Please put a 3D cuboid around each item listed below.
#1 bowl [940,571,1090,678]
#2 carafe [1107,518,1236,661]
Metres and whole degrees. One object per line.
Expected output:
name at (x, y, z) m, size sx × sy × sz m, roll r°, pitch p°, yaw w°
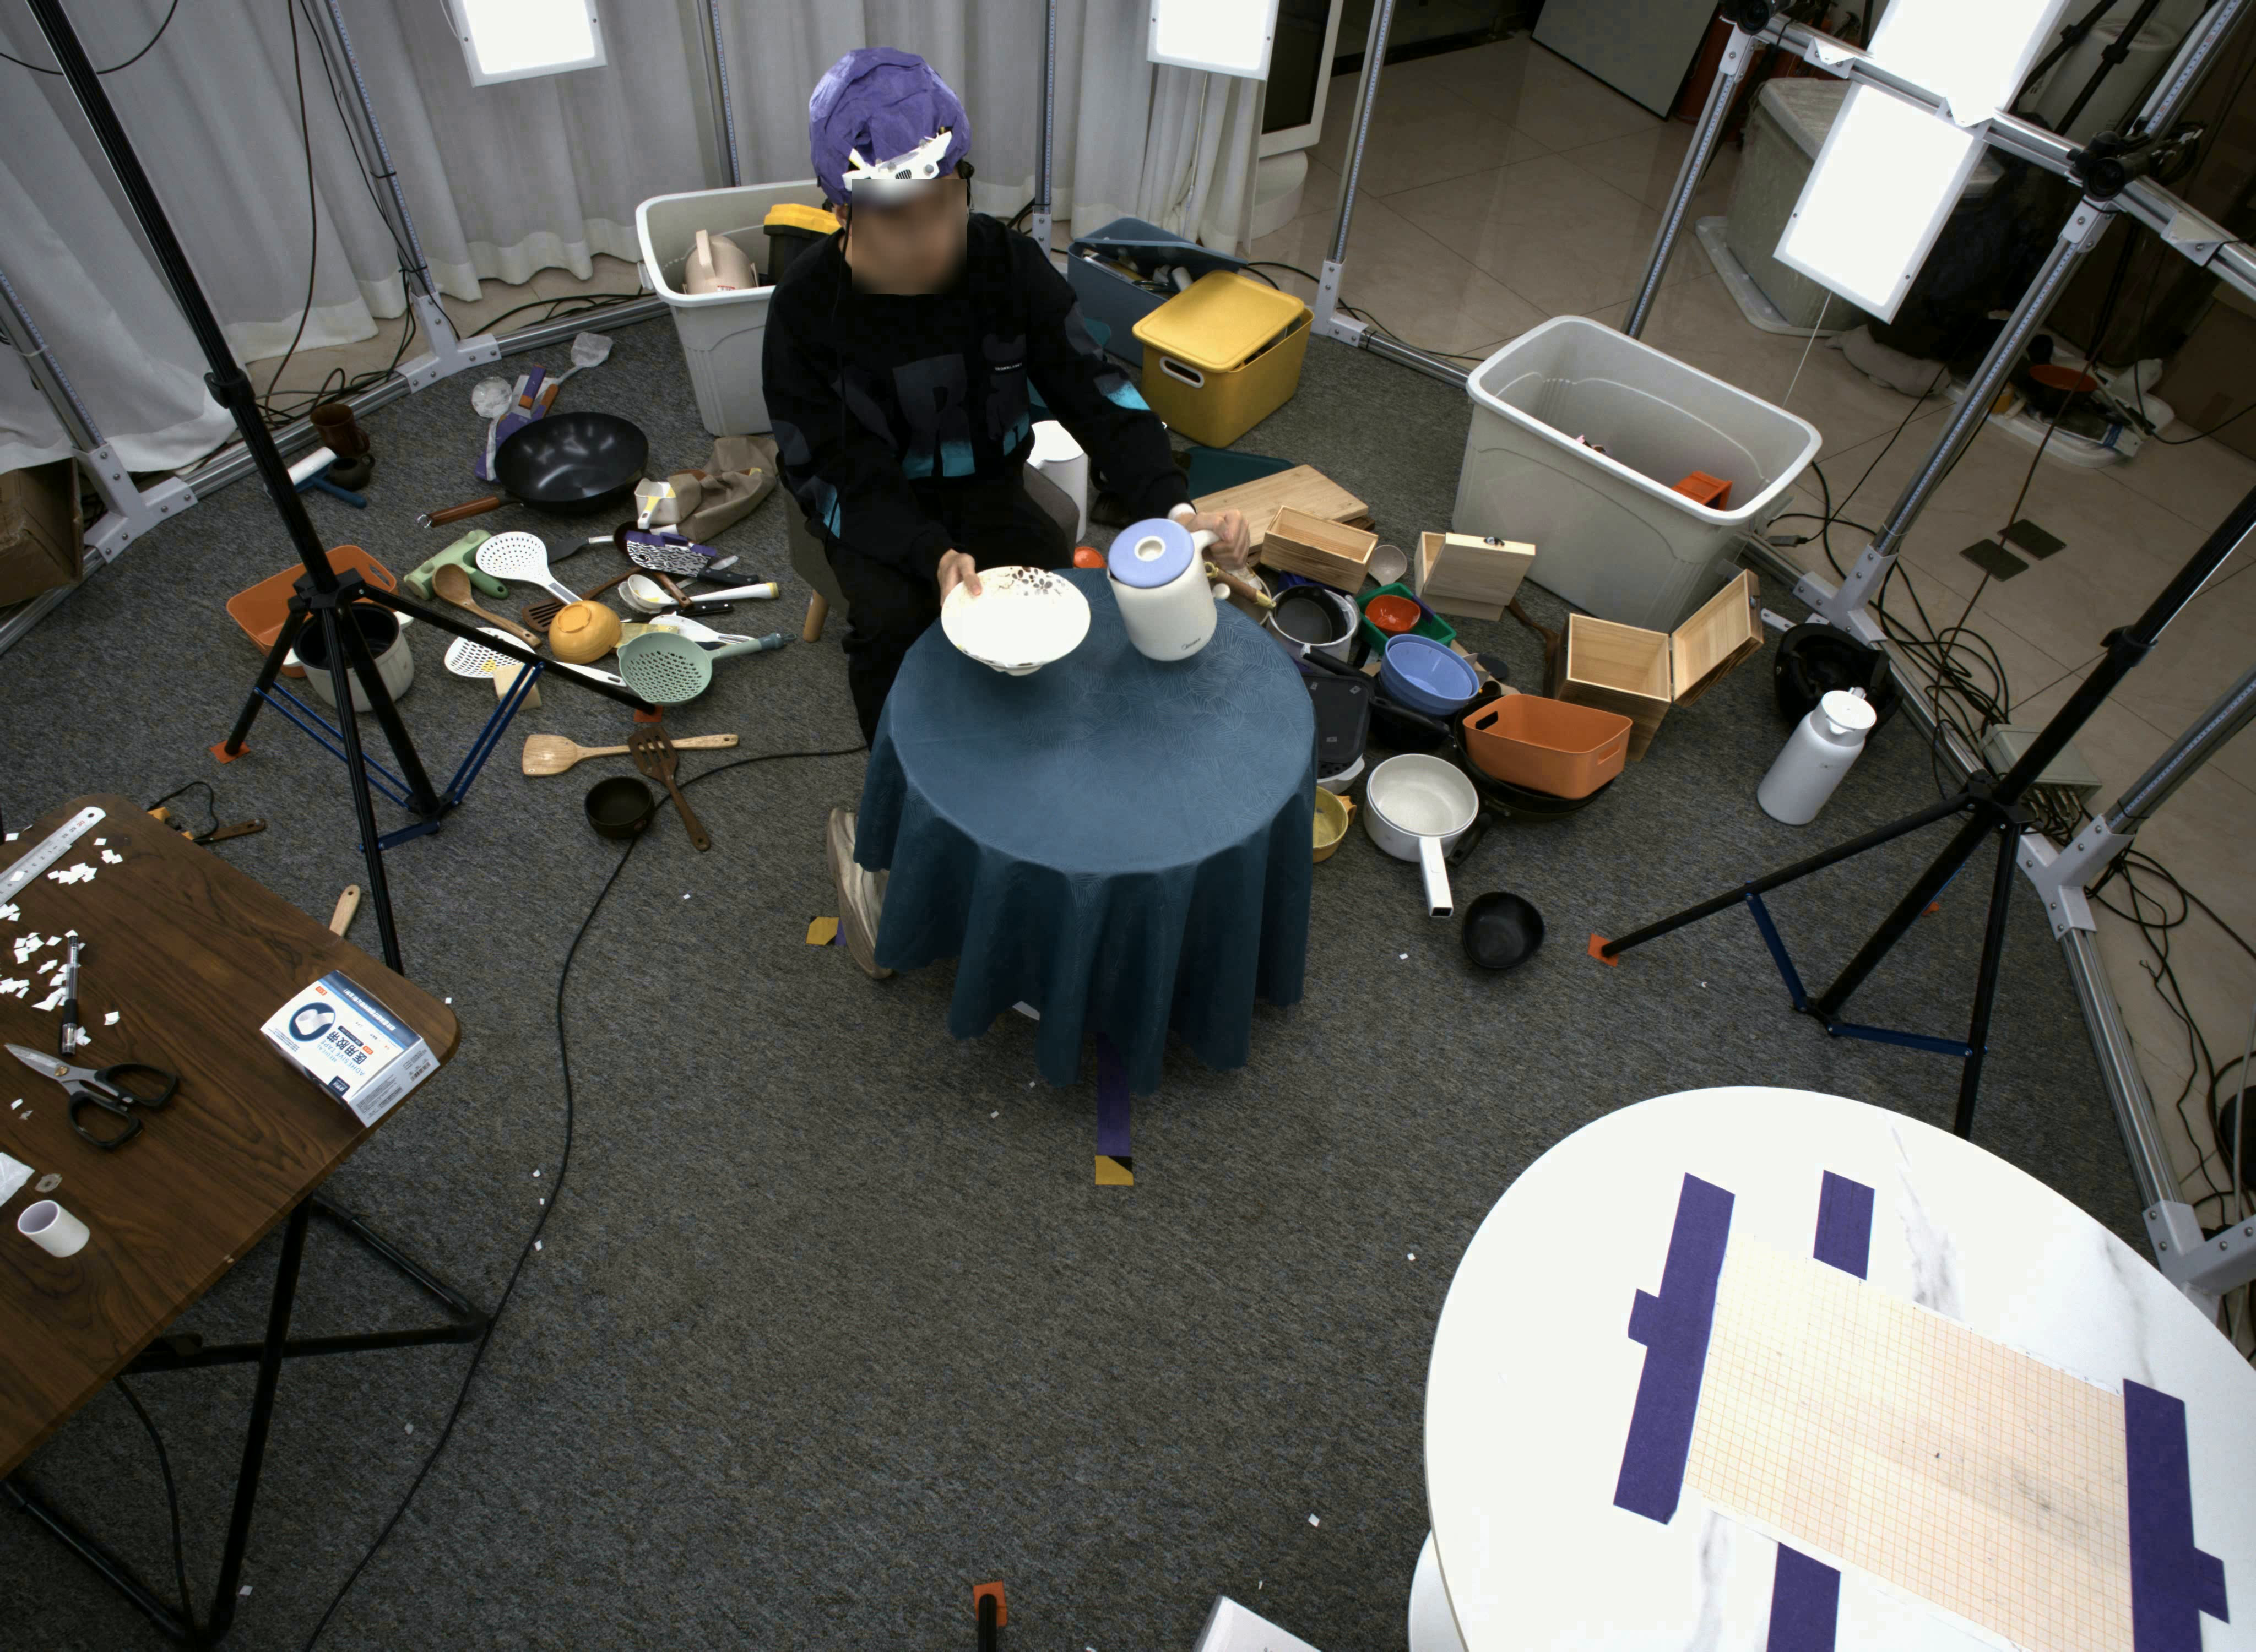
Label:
bowl at (-0.155, -0.263, 1.785) m, size 0.204 × 0.076 × 0.209 m, roll 1°, pitch 46°, yaw -1°
carafe at (0.068, -0.343, 1.806) m, size 0.191 × 0.178 × 0.135 m, roll -29°, pitch 58°, yaw -7°
